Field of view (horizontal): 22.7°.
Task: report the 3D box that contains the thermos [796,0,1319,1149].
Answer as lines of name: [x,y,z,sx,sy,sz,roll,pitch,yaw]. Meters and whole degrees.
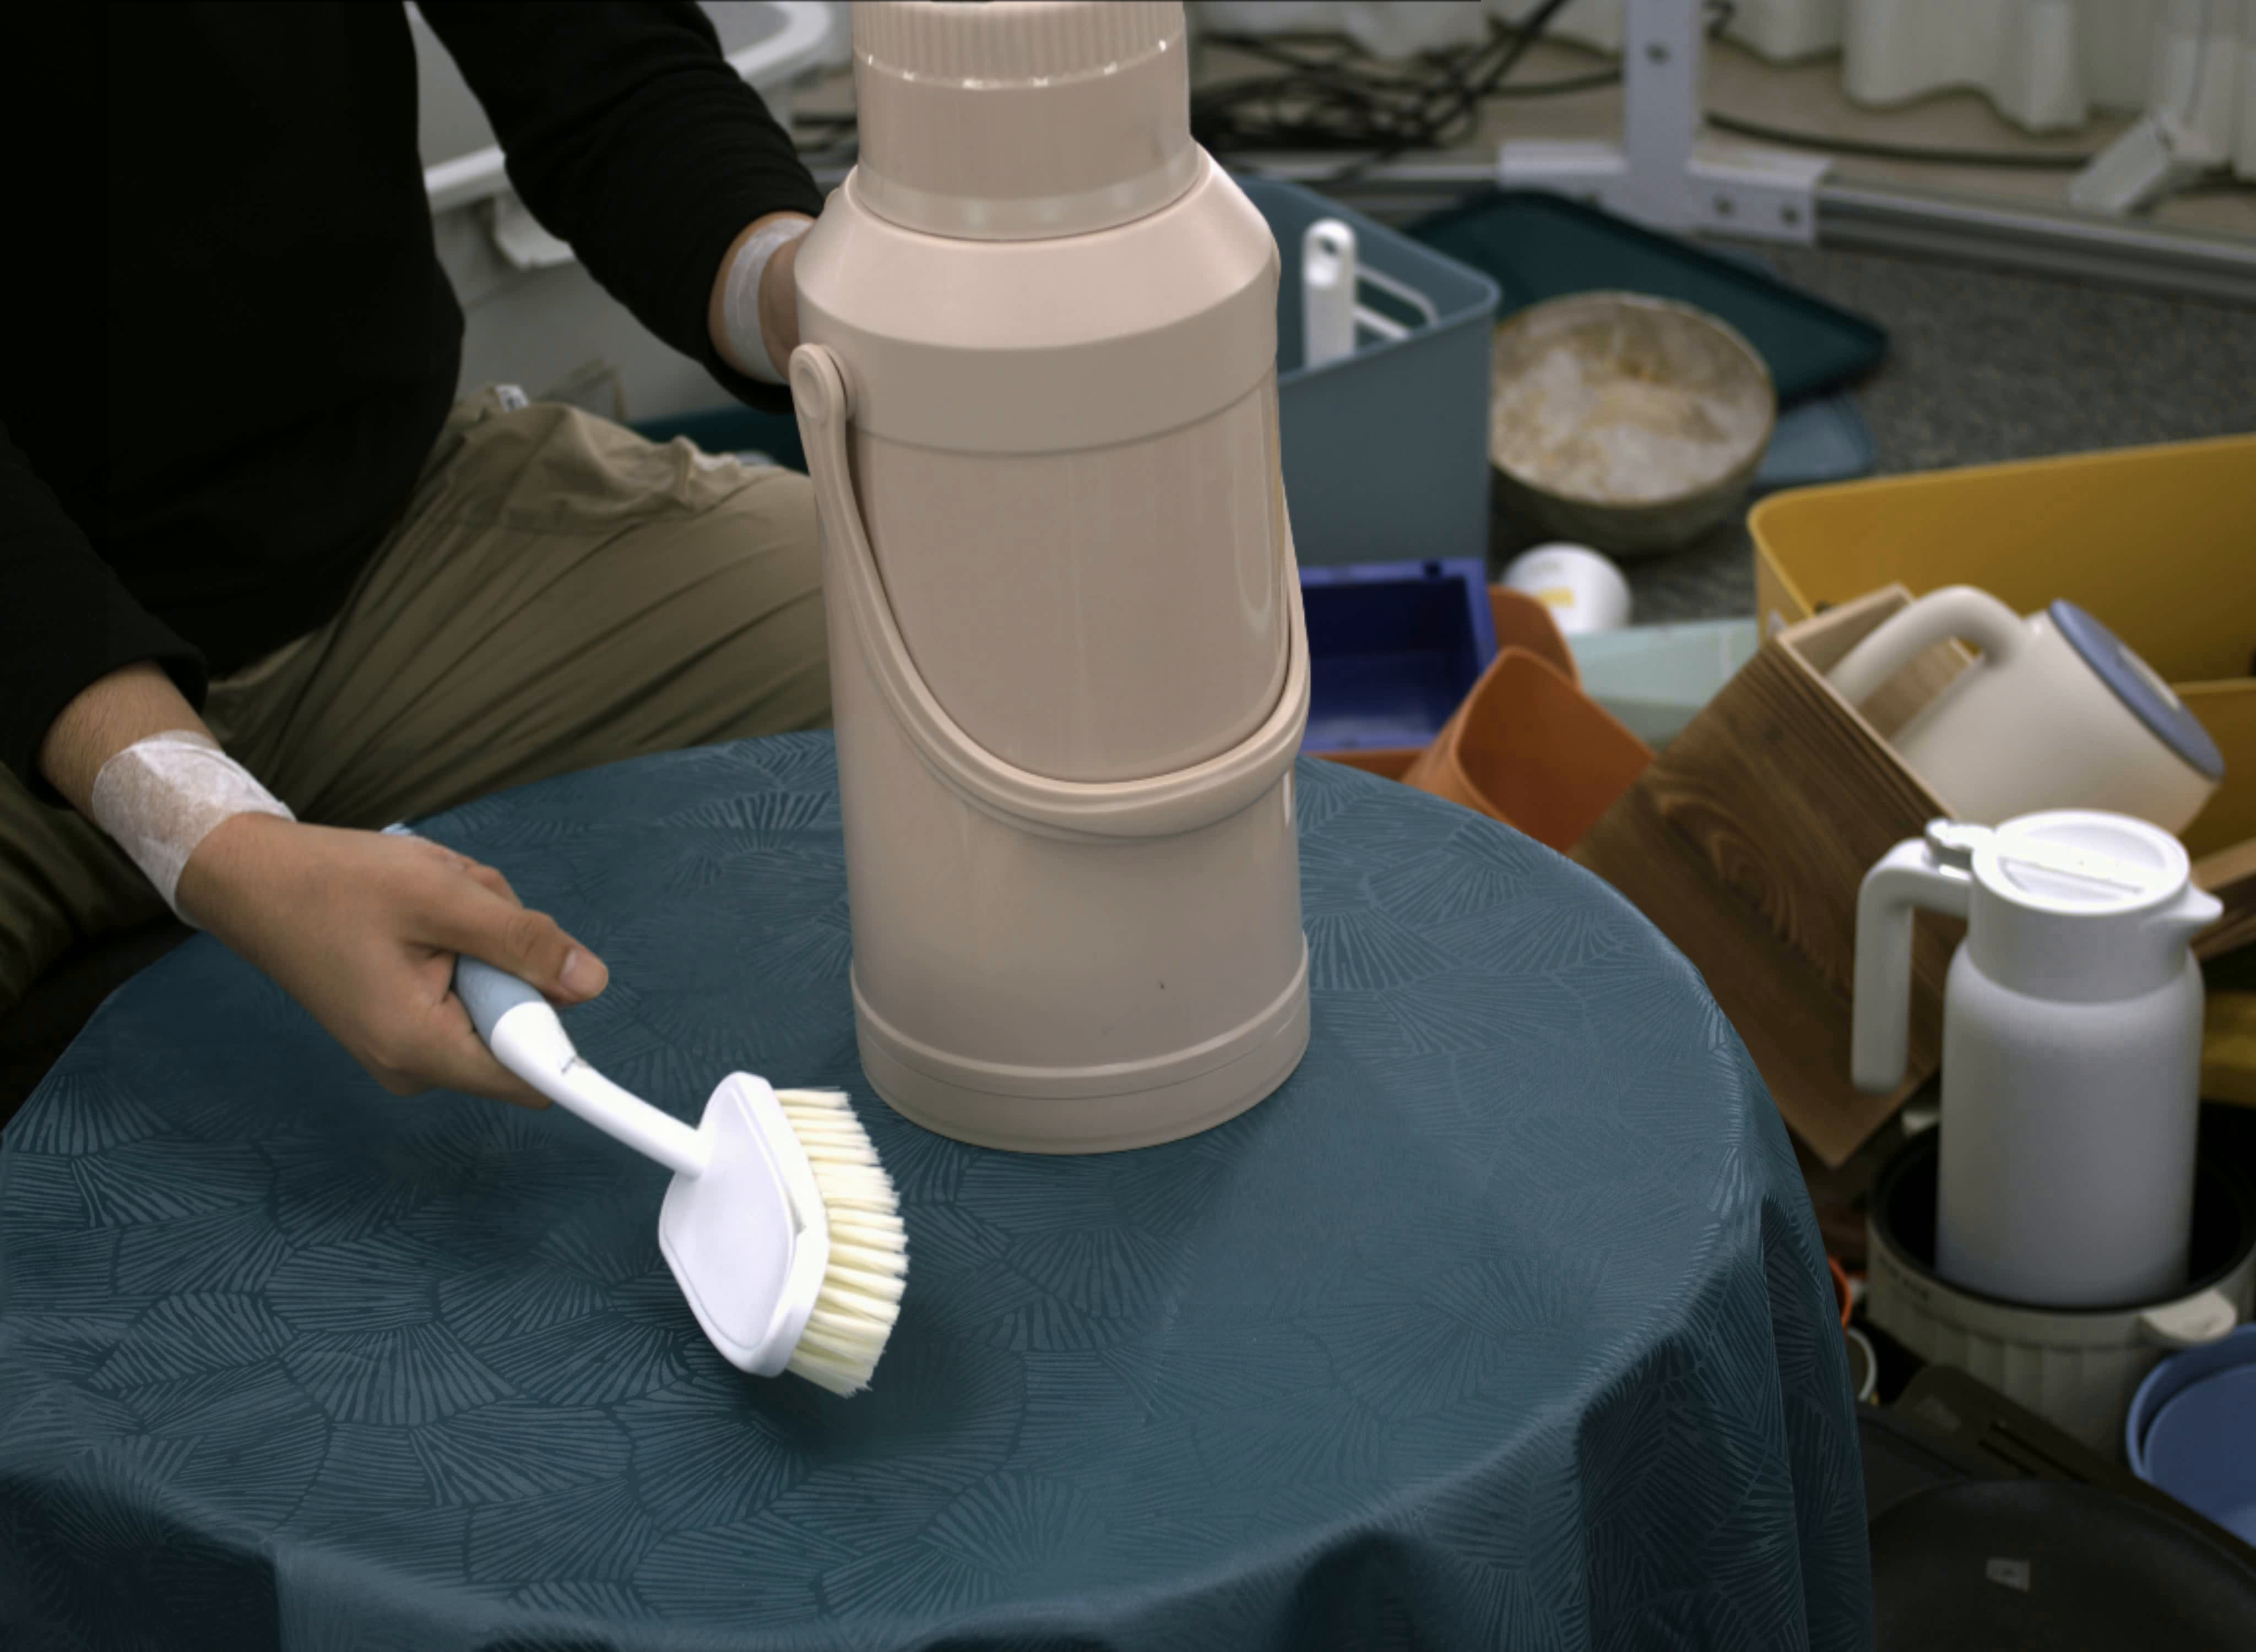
thermos: [-0.030,-0.108,1.881,0.177,0.402,0.207,-21,32,-29]

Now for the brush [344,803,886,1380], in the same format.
brush: [-0.156,0.078,1.835,0.083,0.083,0.328,-35,41,-9]
